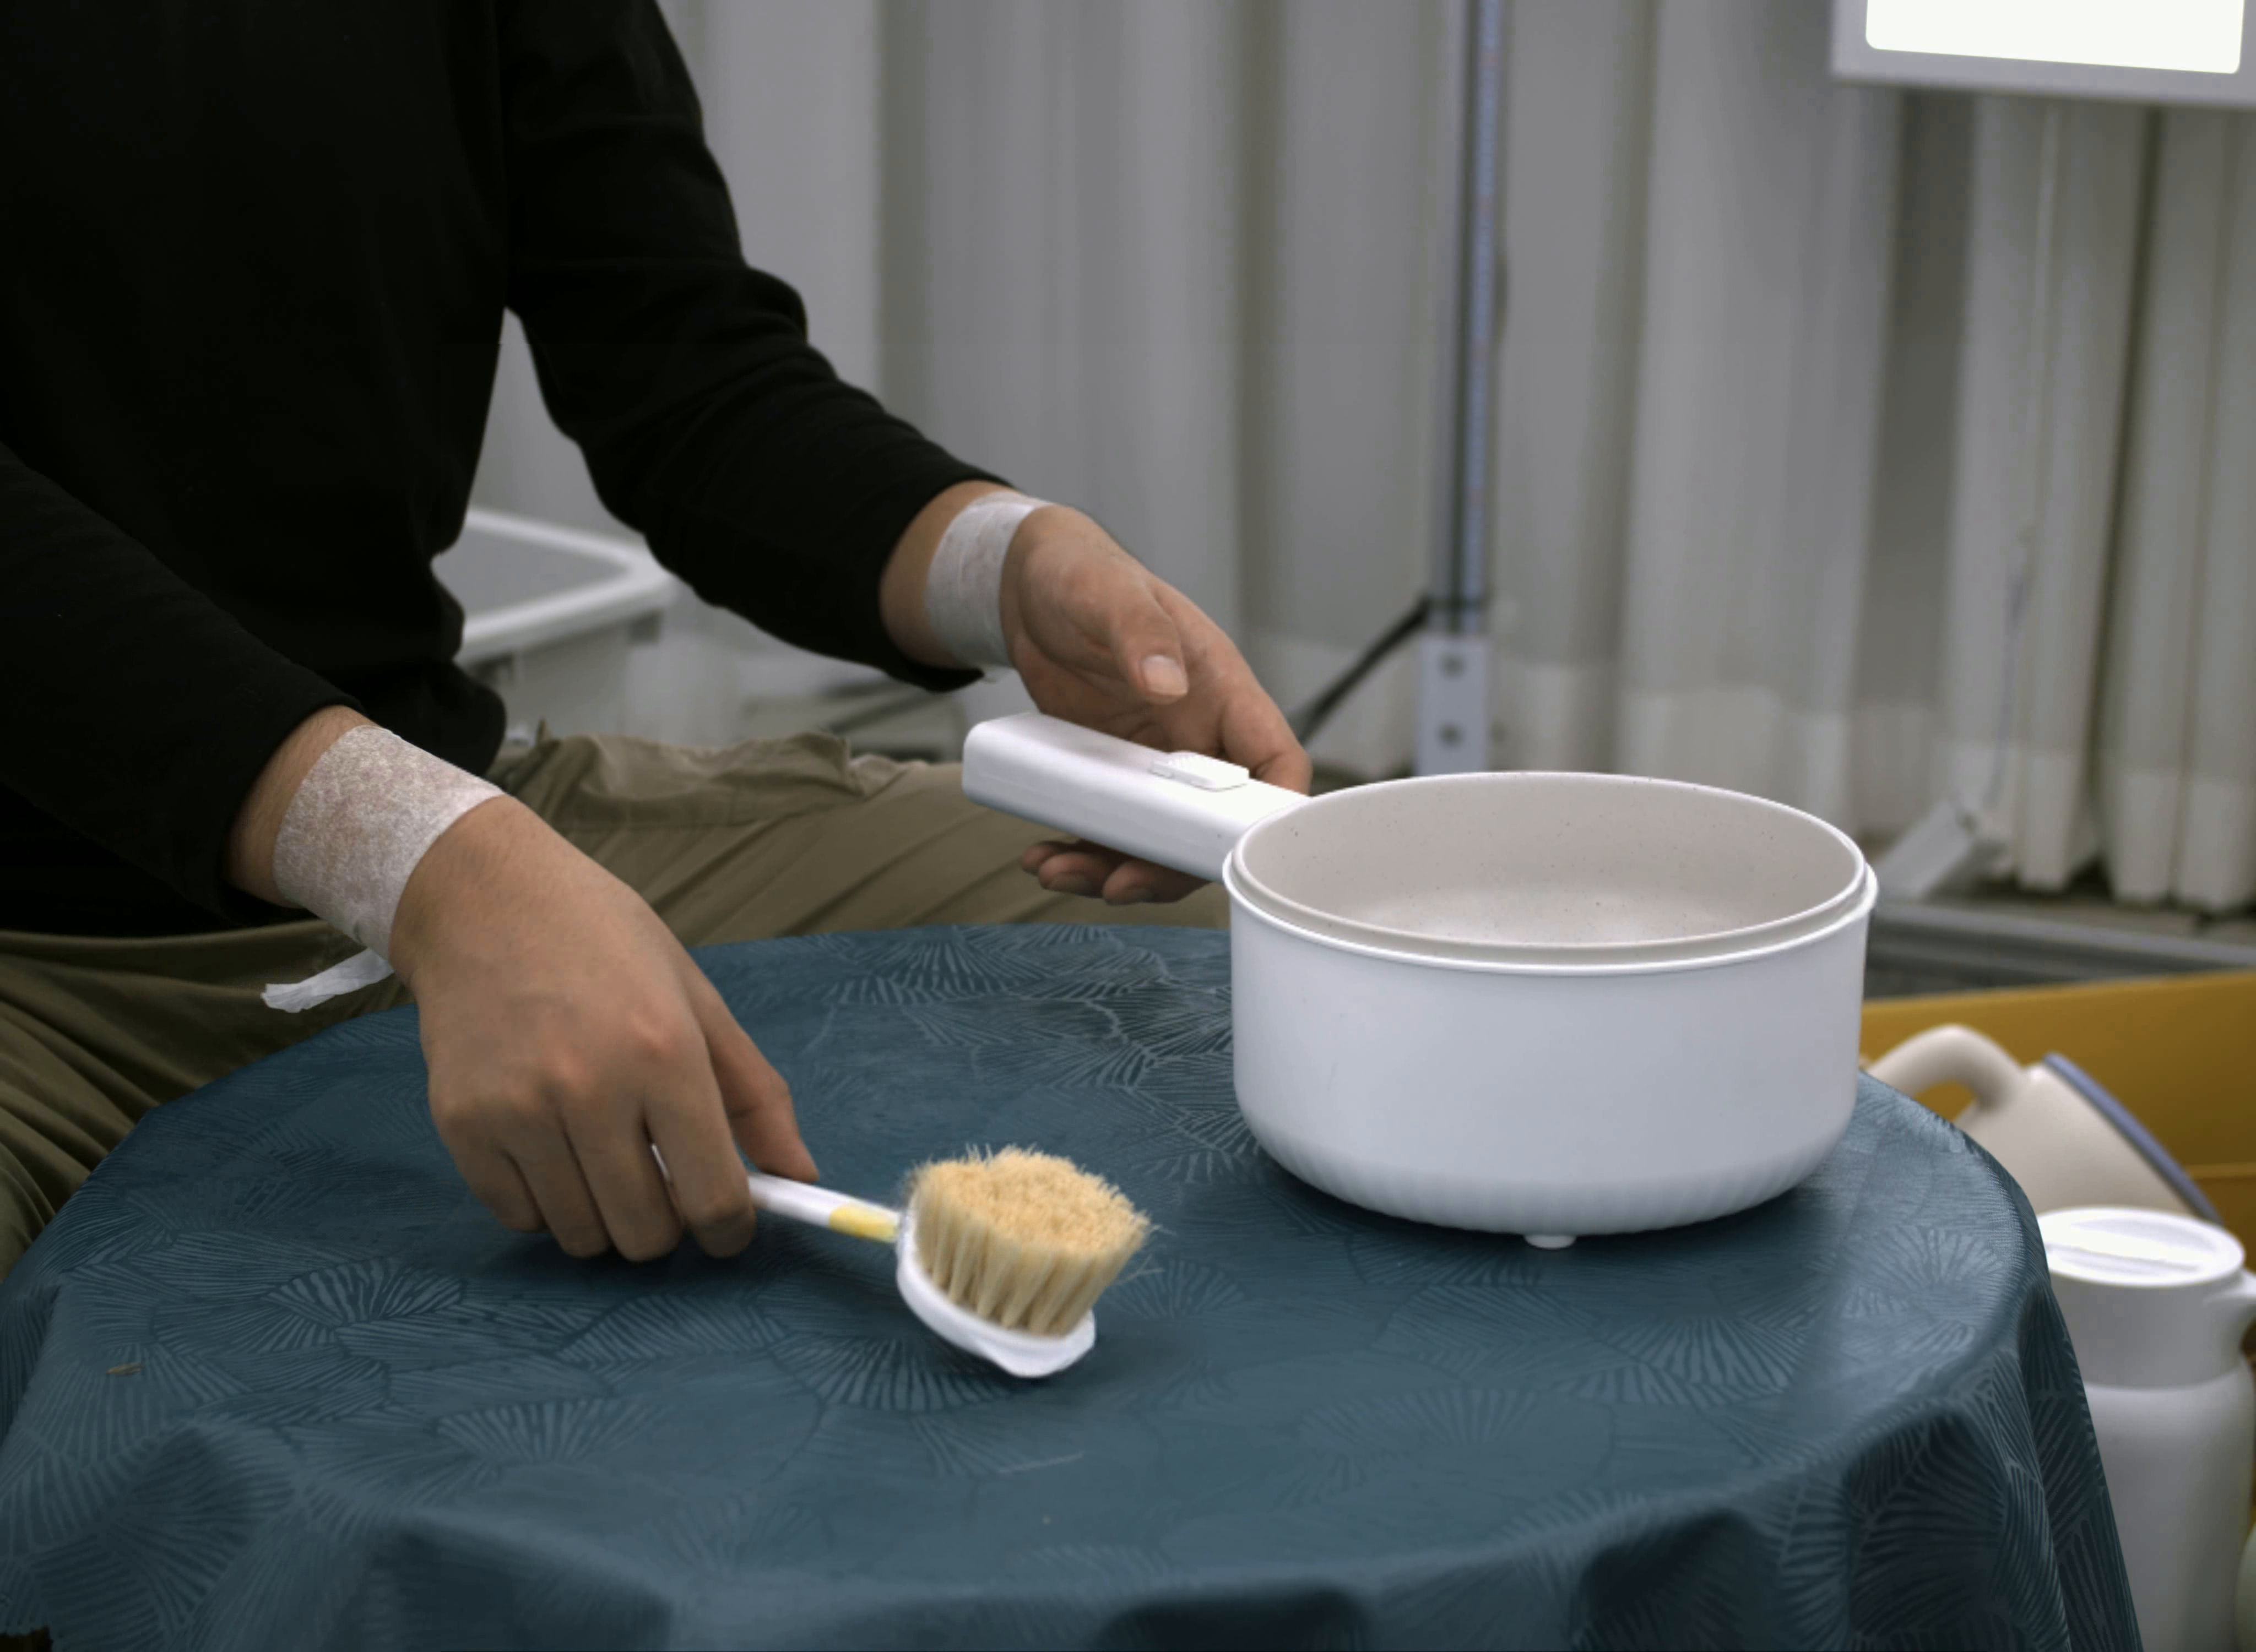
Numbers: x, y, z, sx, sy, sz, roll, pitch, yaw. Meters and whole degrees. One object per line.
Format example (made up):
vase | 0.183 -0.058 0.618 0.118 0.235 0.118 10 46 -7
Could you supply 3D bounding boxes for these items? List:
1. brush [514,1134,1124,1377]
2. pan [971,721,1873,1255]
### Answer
brush | -0.099 0.102 1.547 0.069 0.056 0.263 11 4 -40
pan | 0.077 0.045 1.689 0.202 0.103 0.350 -15 21 -41
